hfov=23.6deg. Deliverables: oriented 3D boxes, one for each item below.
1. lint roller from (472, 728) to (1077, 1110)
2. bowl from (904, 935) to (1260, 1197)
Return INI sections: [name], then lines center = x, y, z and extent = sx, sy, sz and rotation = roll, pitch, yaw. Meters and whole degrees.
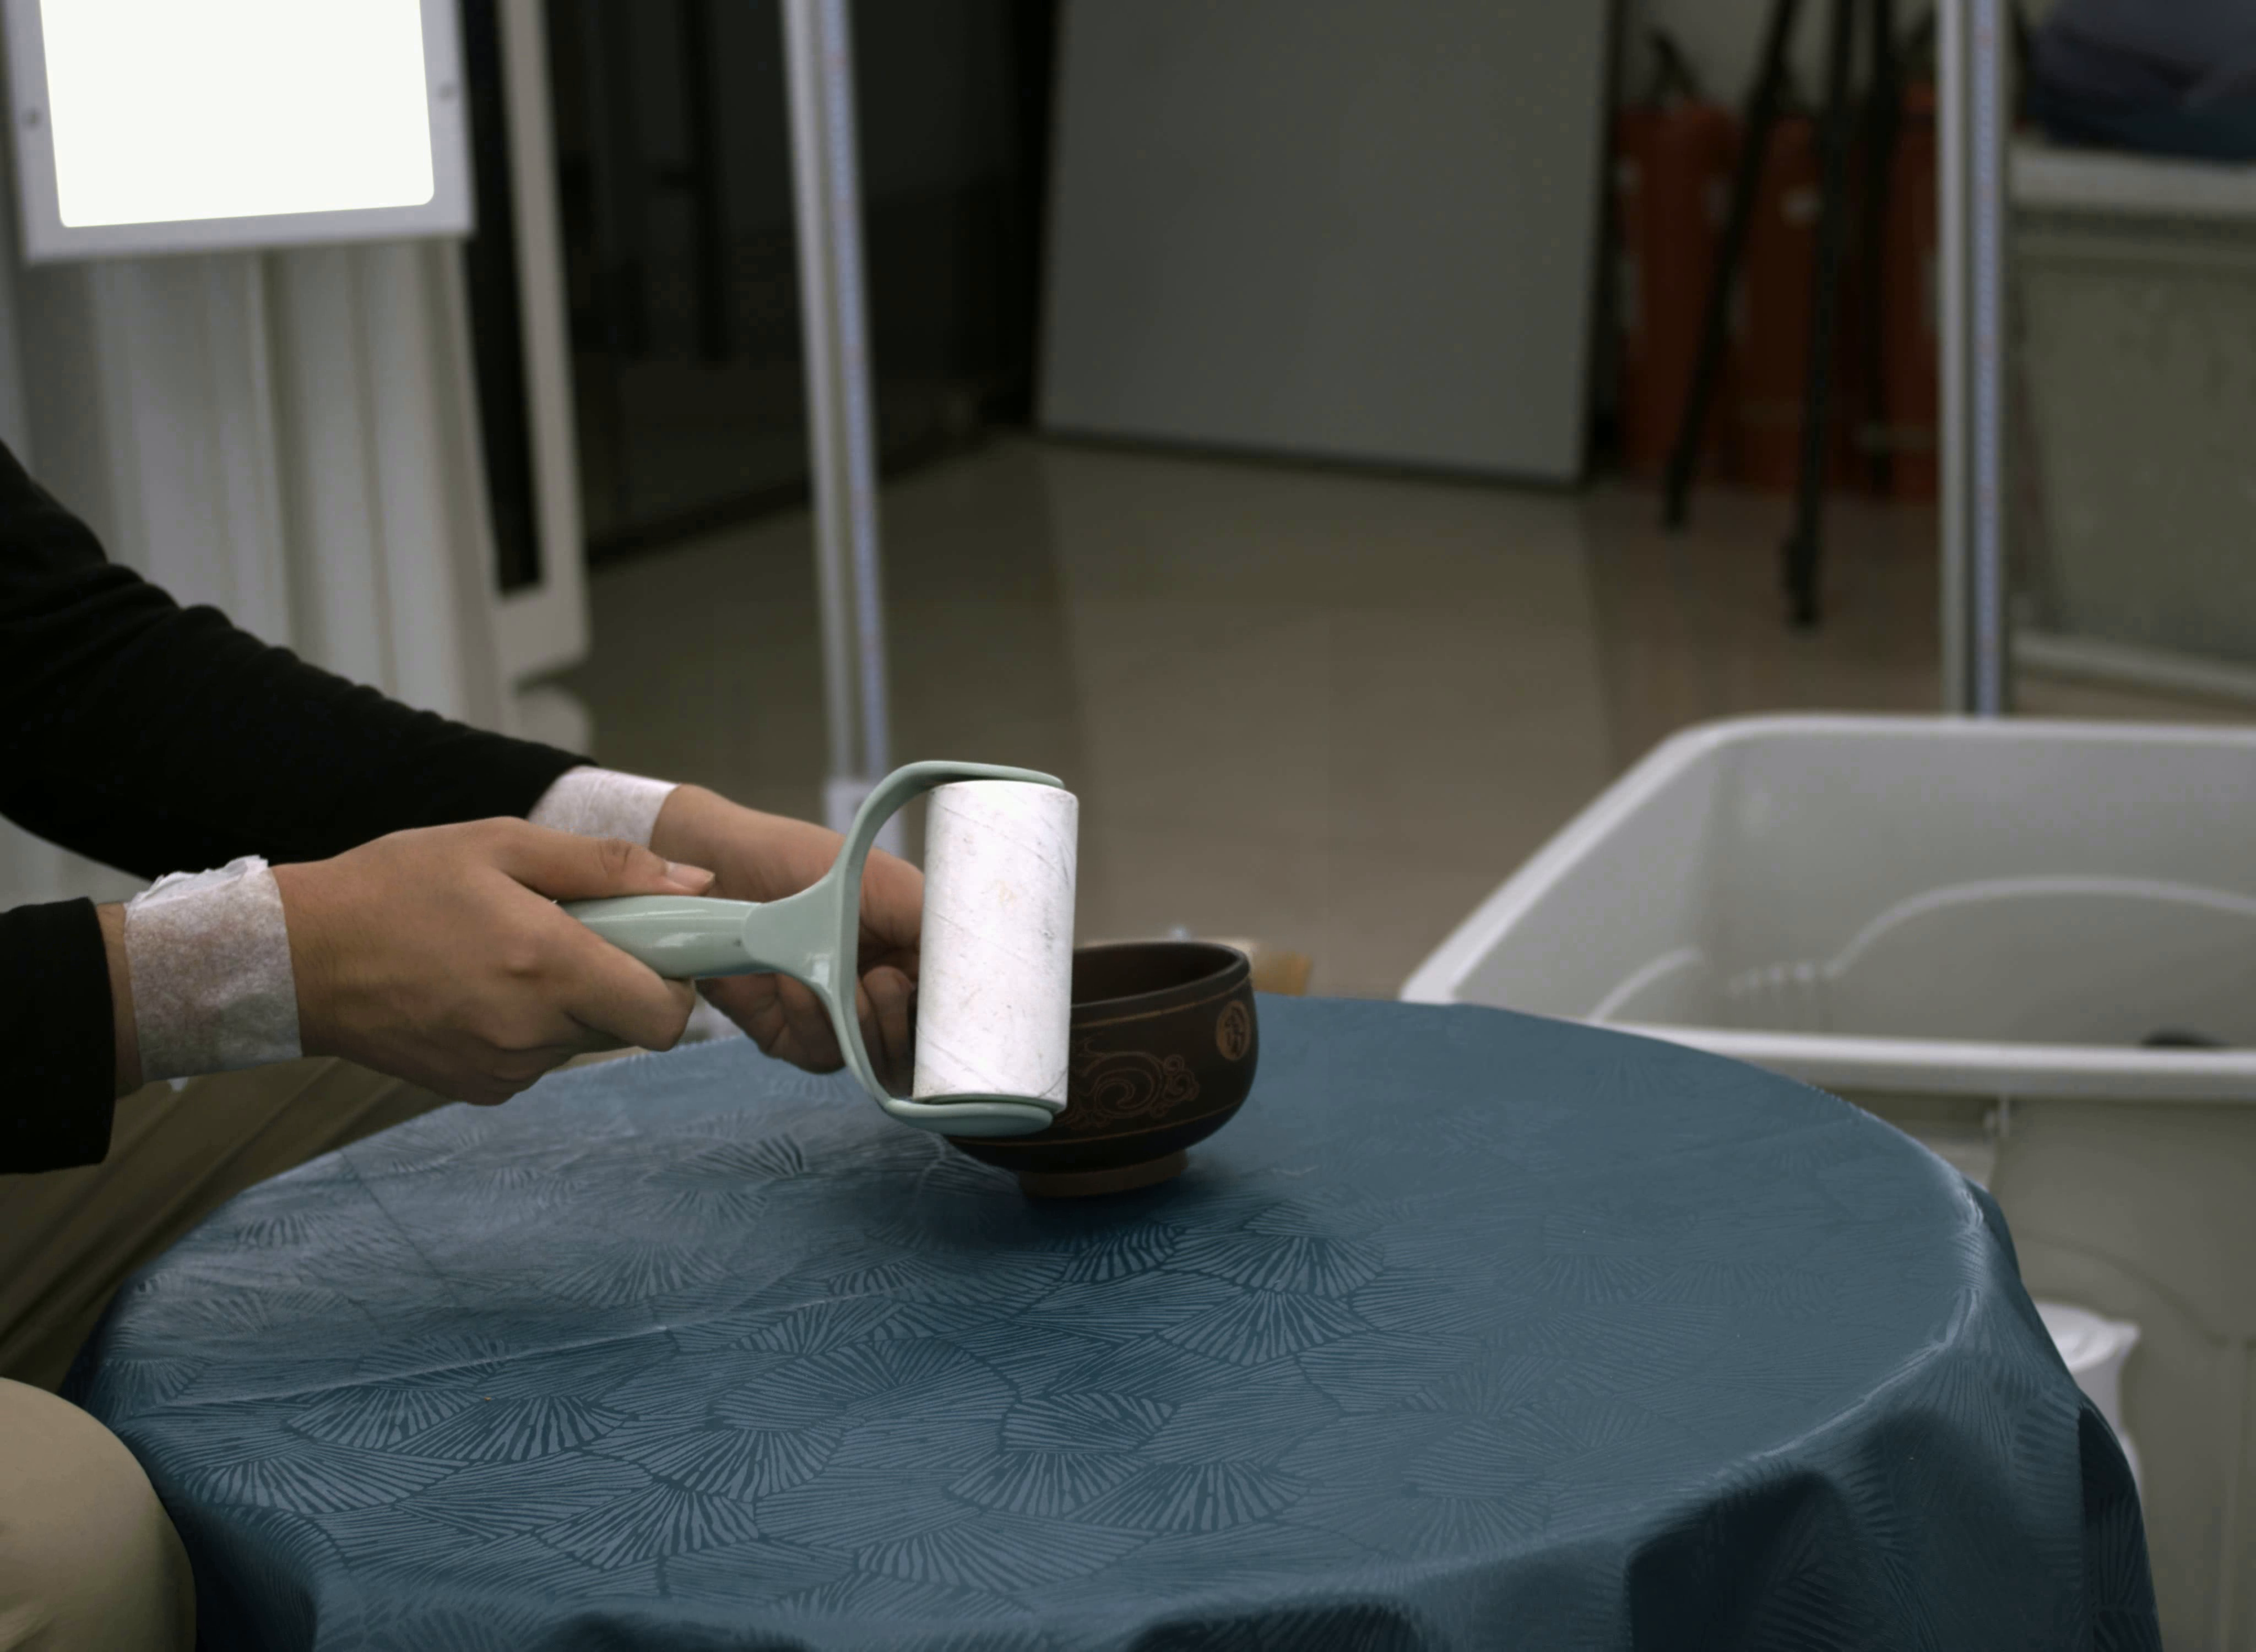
[lint roller]
center = -0.112, 0.029, 1.690
extent = 0.196, 0.118, 0.048
rotation = 0, -11, 8
[bowl]
center = -0.013, 0.081, 1.771
extent = 0.116, 0.070, 0.118
rotation = -9, 7, 0
